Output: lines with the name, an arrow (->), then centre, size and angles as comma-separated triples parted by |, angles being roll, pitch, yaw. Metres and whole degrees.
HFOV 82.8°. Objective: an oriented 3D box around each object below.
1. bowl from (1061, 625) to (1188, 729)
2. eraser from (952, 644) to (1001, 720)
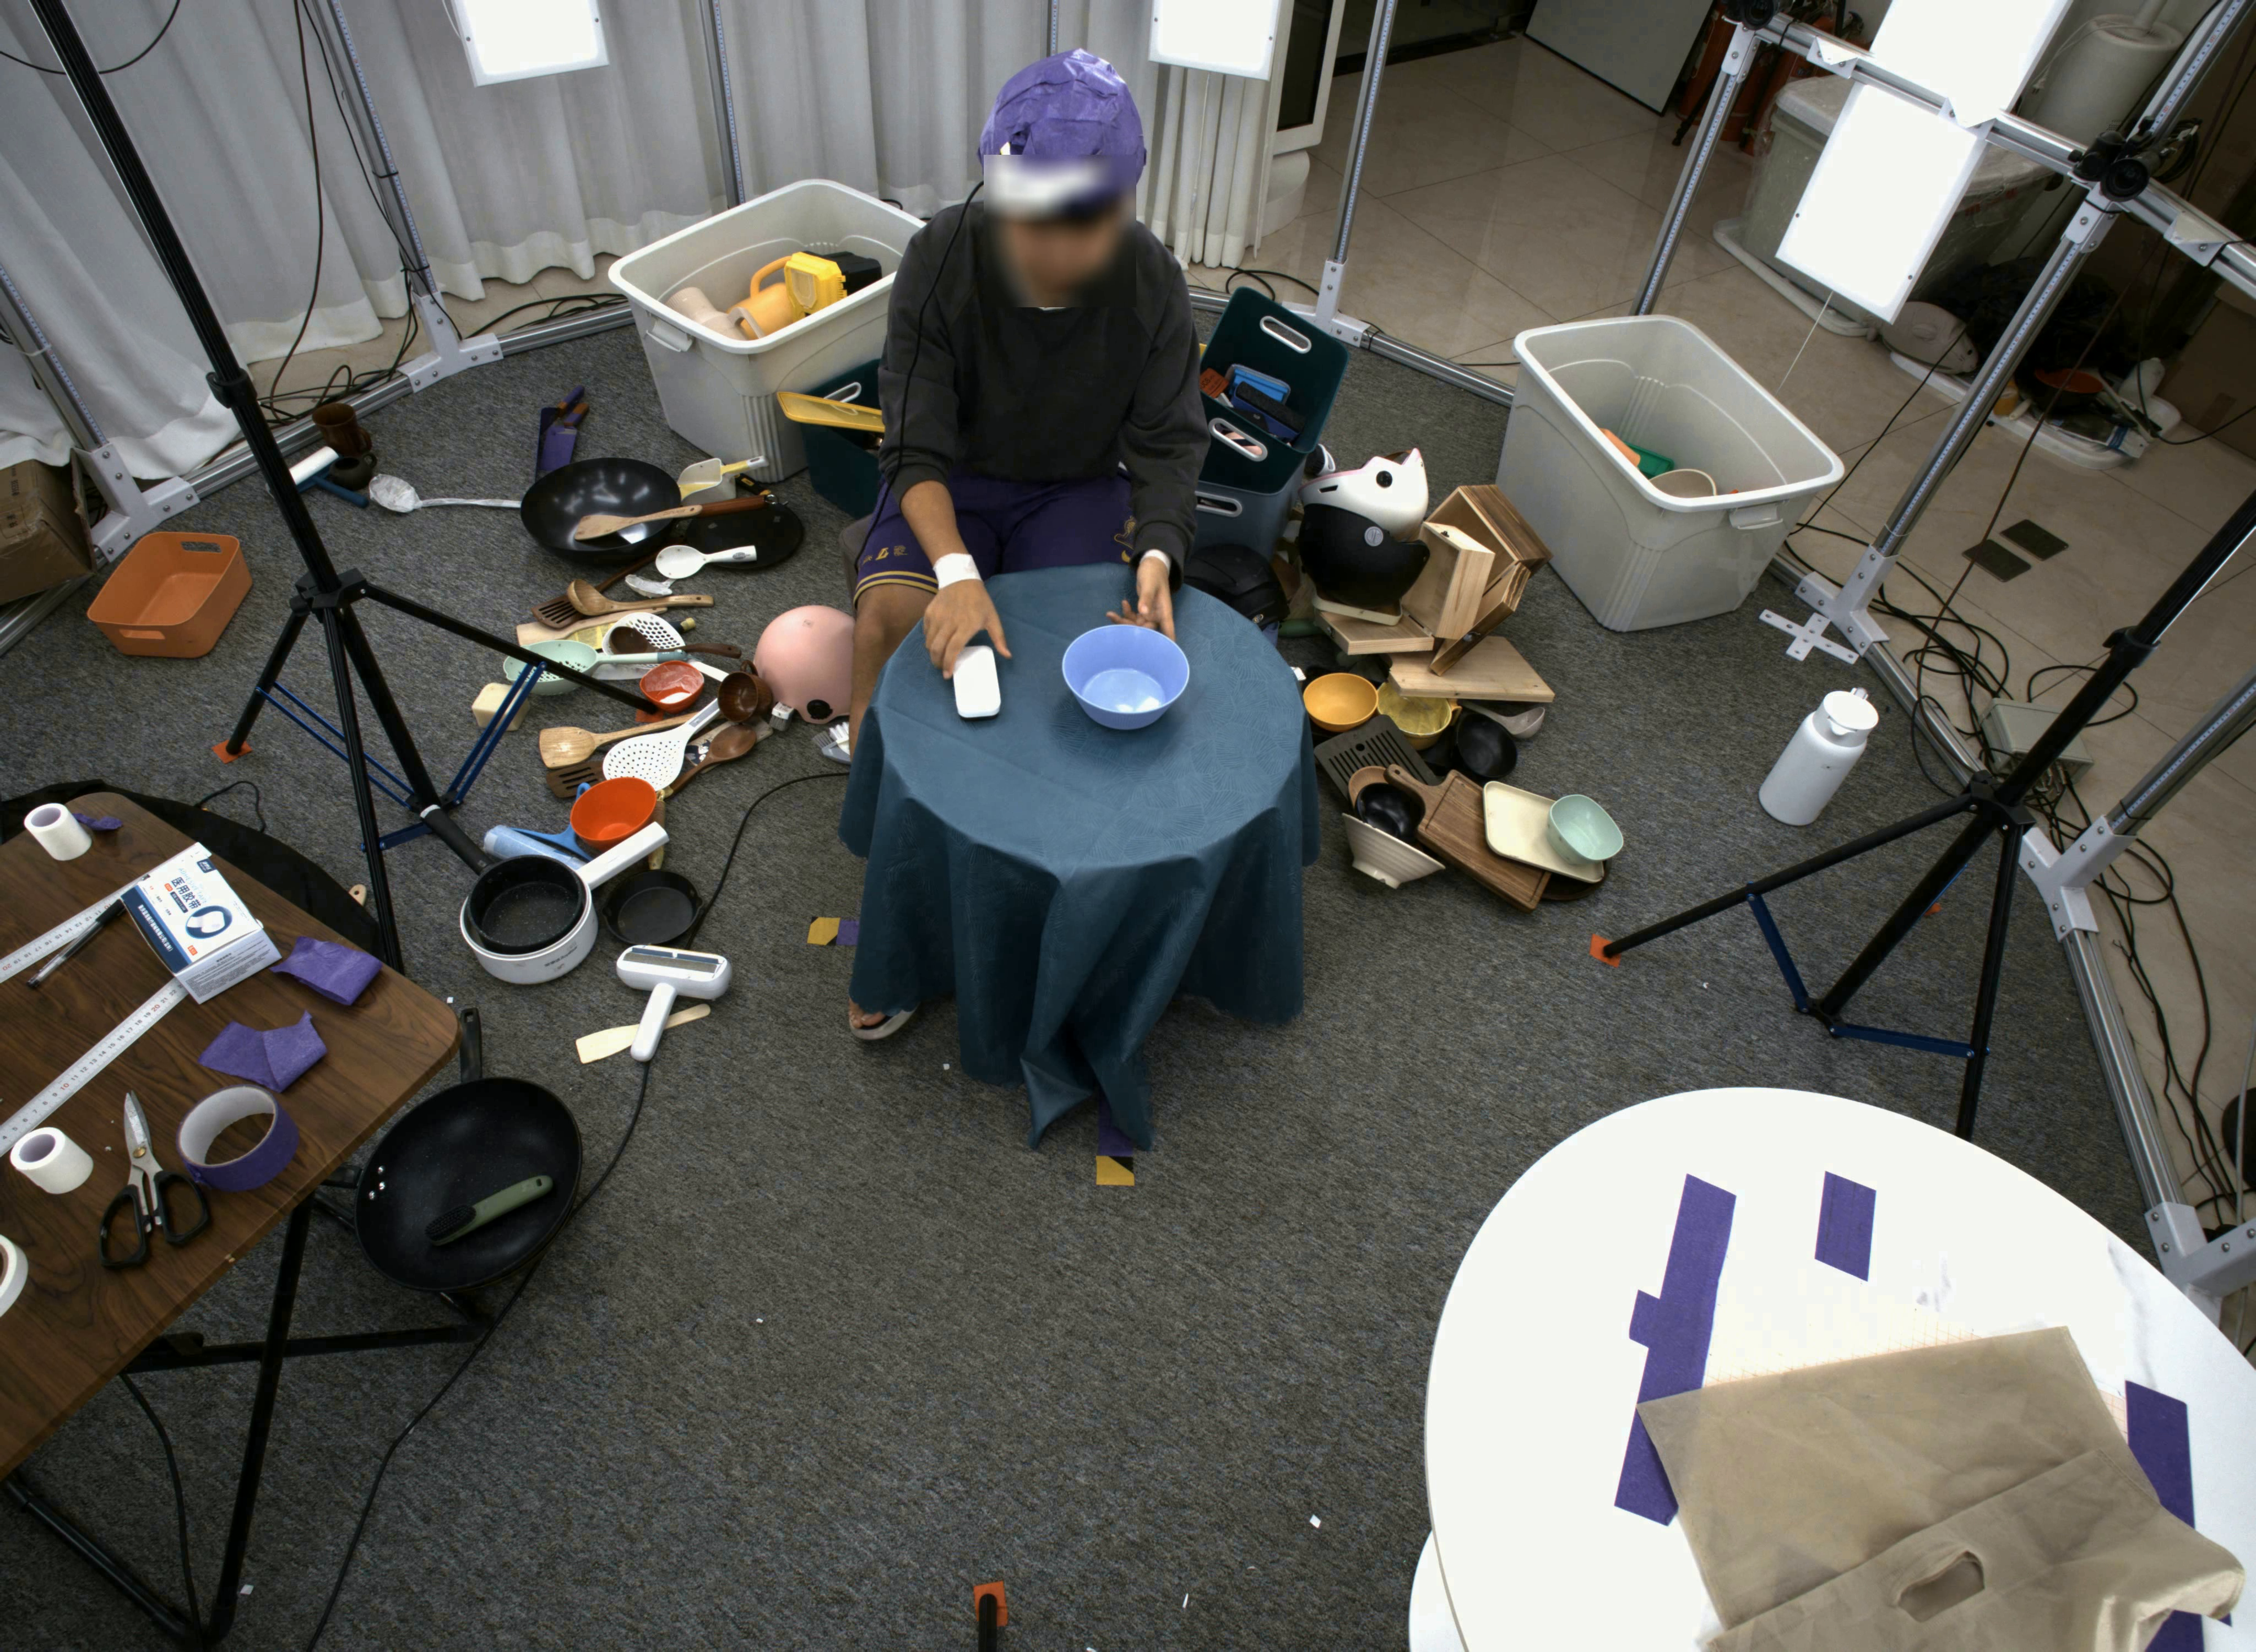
bowl -> -0.006, -0.200, 1.793 | 0.176, 0.068, 0.180 | 2, 49, -3
eraser -> -0.213, -0.205, 1.809 | 0.063, 0.034, 0.134 | -3, 51, -8
